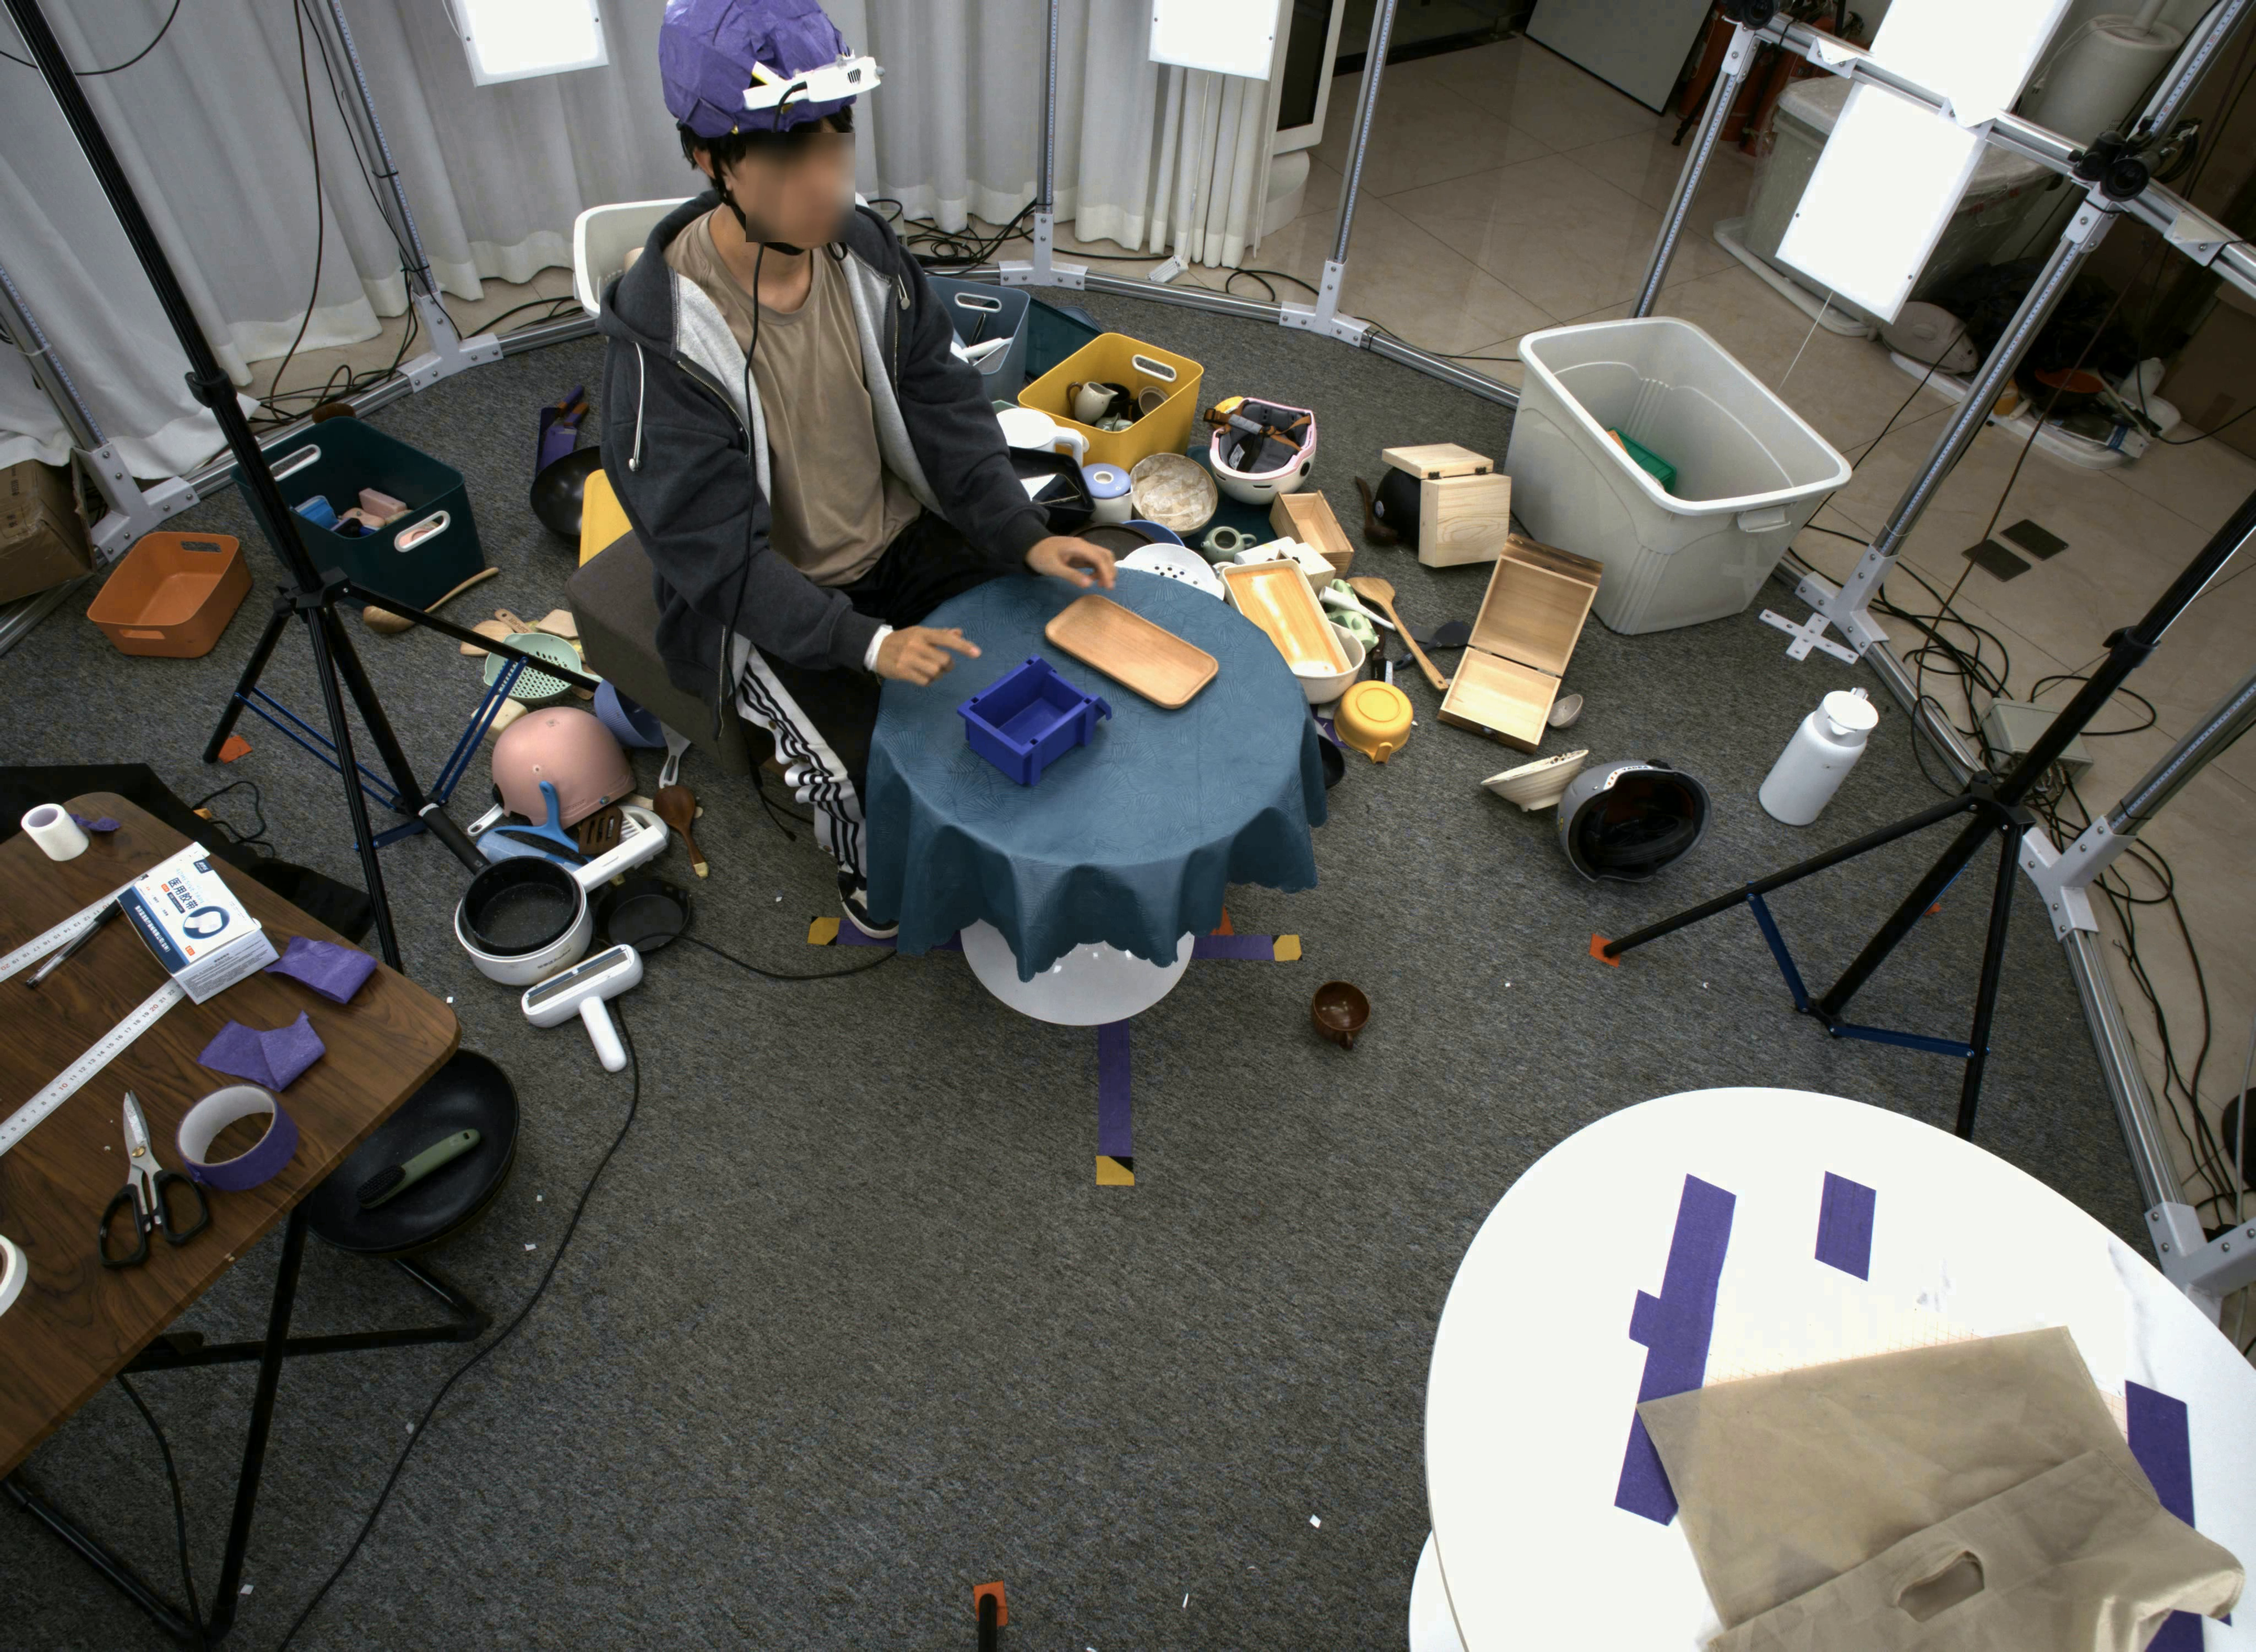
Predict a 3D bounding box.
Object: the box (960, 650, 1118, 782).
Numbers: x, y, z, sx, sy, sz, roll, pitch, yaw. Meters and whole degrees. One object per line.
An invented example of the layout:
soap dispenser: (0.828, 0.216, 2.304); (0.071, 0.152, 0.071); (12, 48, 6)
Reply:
box: (-0.119, -0.155, 1.739); (0.126, 0.080, 0.181); (37, 59, 25)

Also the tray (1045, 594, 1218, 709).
tray: (0.004, -0.257, 1.879); (0.253, 0.022, 0.132); (32, 52, 22)
